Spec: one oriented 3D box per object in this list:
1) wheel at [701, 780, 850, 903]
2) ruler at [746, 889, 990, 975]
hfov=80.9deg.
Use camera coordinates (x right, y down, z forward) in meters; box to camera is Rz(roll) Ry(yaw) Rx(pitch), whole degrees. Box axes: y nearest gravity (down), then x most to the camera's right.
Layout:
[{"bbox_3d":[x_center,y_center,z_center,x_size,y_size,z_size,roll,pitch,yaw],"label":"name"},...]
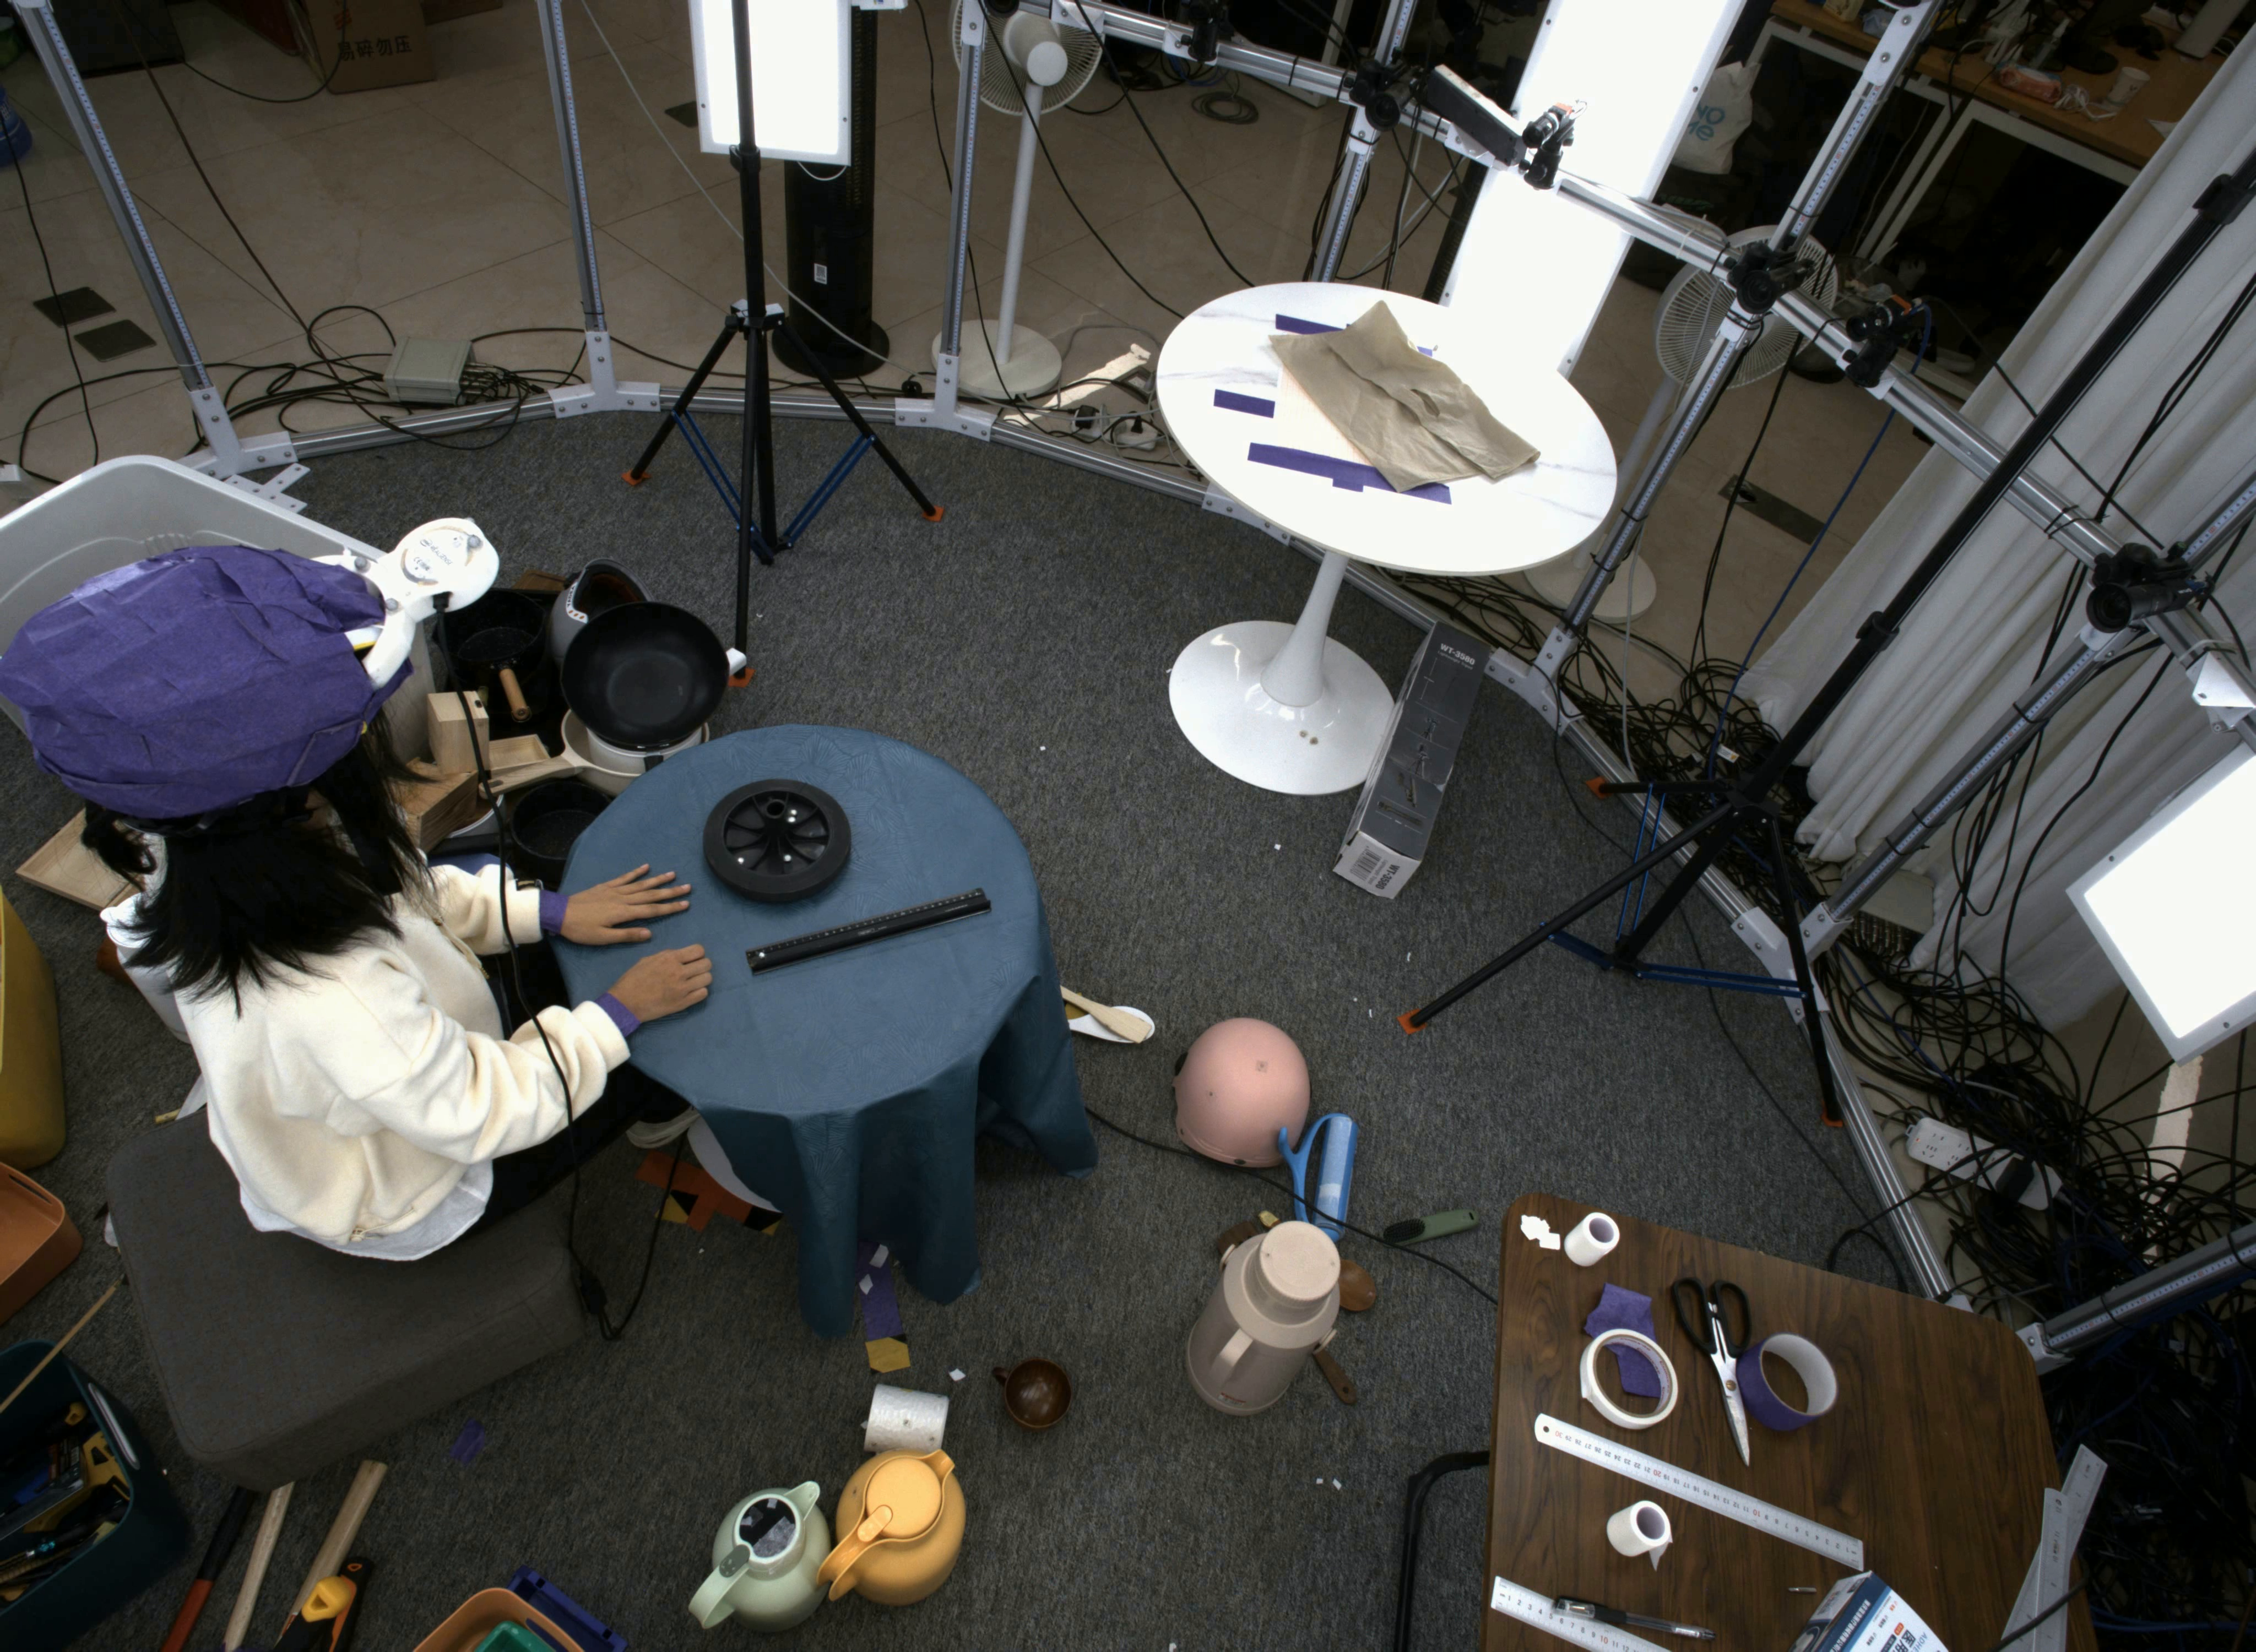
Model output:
[{"bbox_3d":[-0.453,0.003,1.660,0.188,0.081,0.185,-29,65,-31],"label":"wheel"},{"bbox_3d":[-0.324,0.125,1.642,0.314,0.017,0.038,-14,55,-23],"label":"ruler"}]
